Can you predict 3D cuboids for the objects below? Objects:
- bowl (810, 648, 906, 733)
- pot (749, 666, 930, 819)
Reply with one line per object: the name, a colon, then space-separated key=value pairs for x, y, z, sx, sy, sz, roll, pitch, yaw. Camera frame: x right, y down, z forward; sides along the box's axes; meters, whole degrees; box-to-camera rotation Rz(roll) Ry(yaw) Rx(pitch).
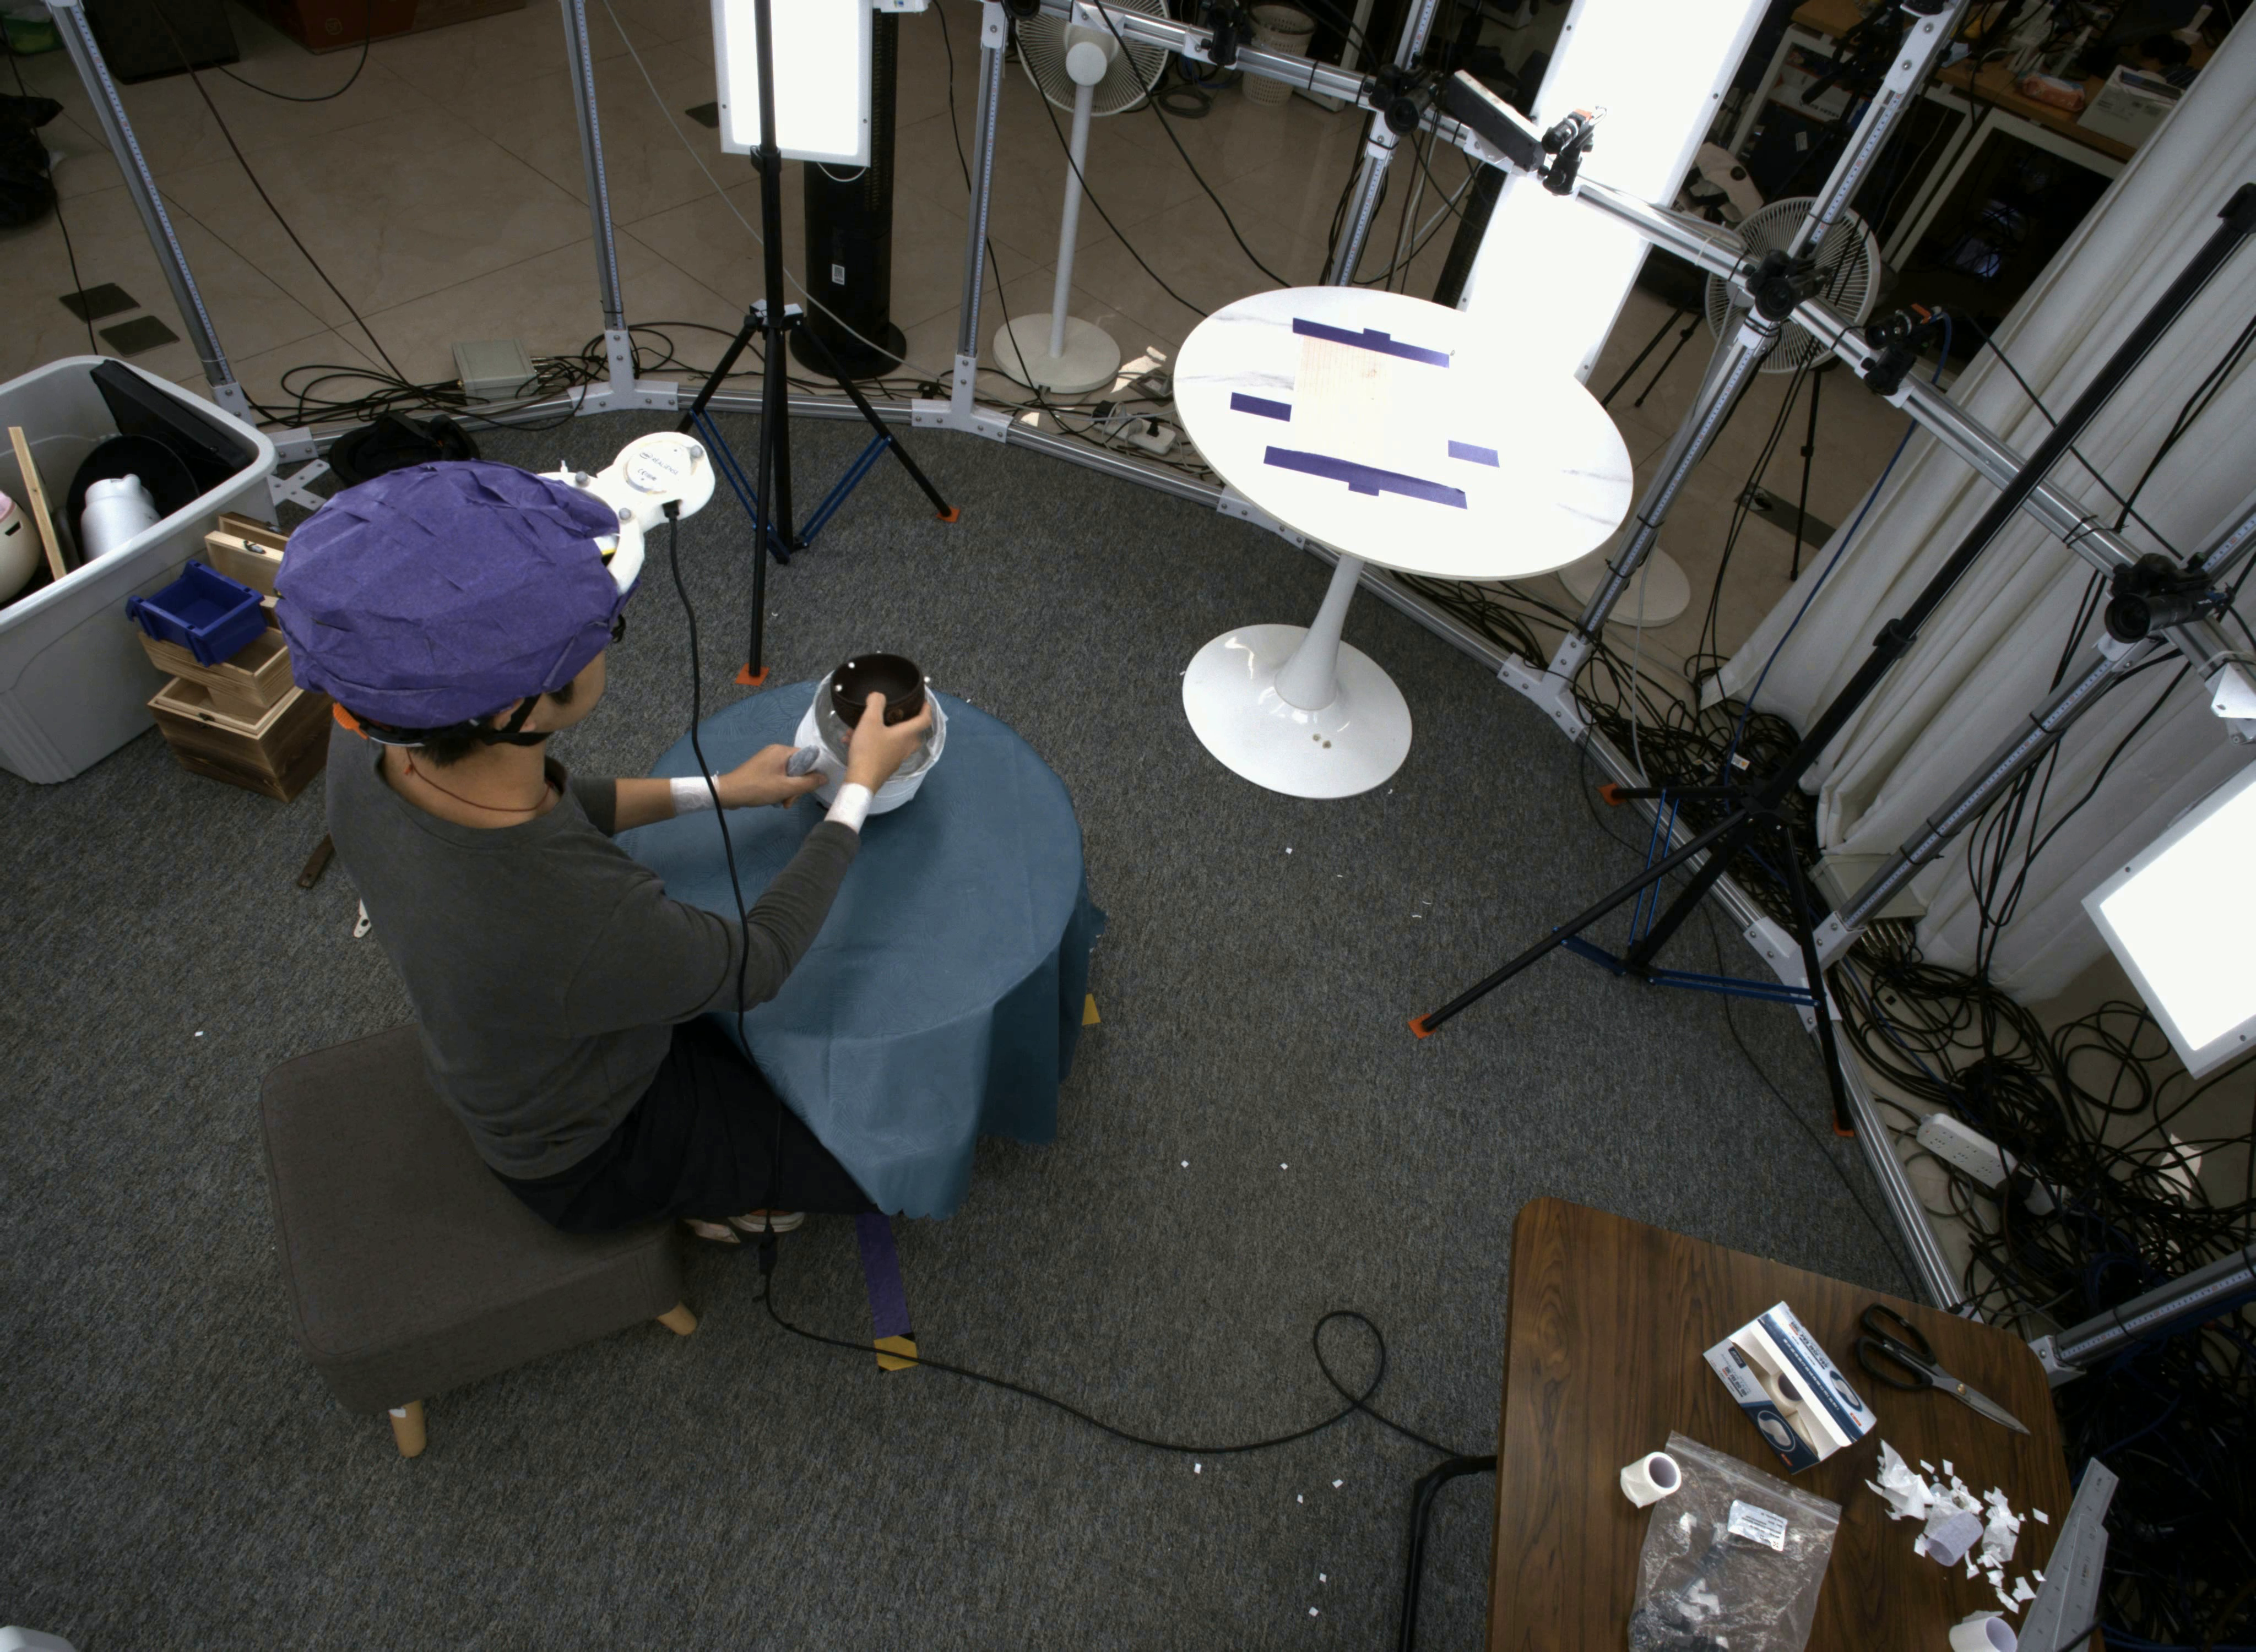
bowl: x=-0.339 y=-0.163 z=1.644 sx=0.117 sy=0.072 sz=0.115 roll=2 pitch=45 yaw=0
pot: x=-0.385 y=-0.099 z=1.704 sx=0.234 sy=0.136 sz=0.178 roll=-33 pitch=84 yaw=-36
